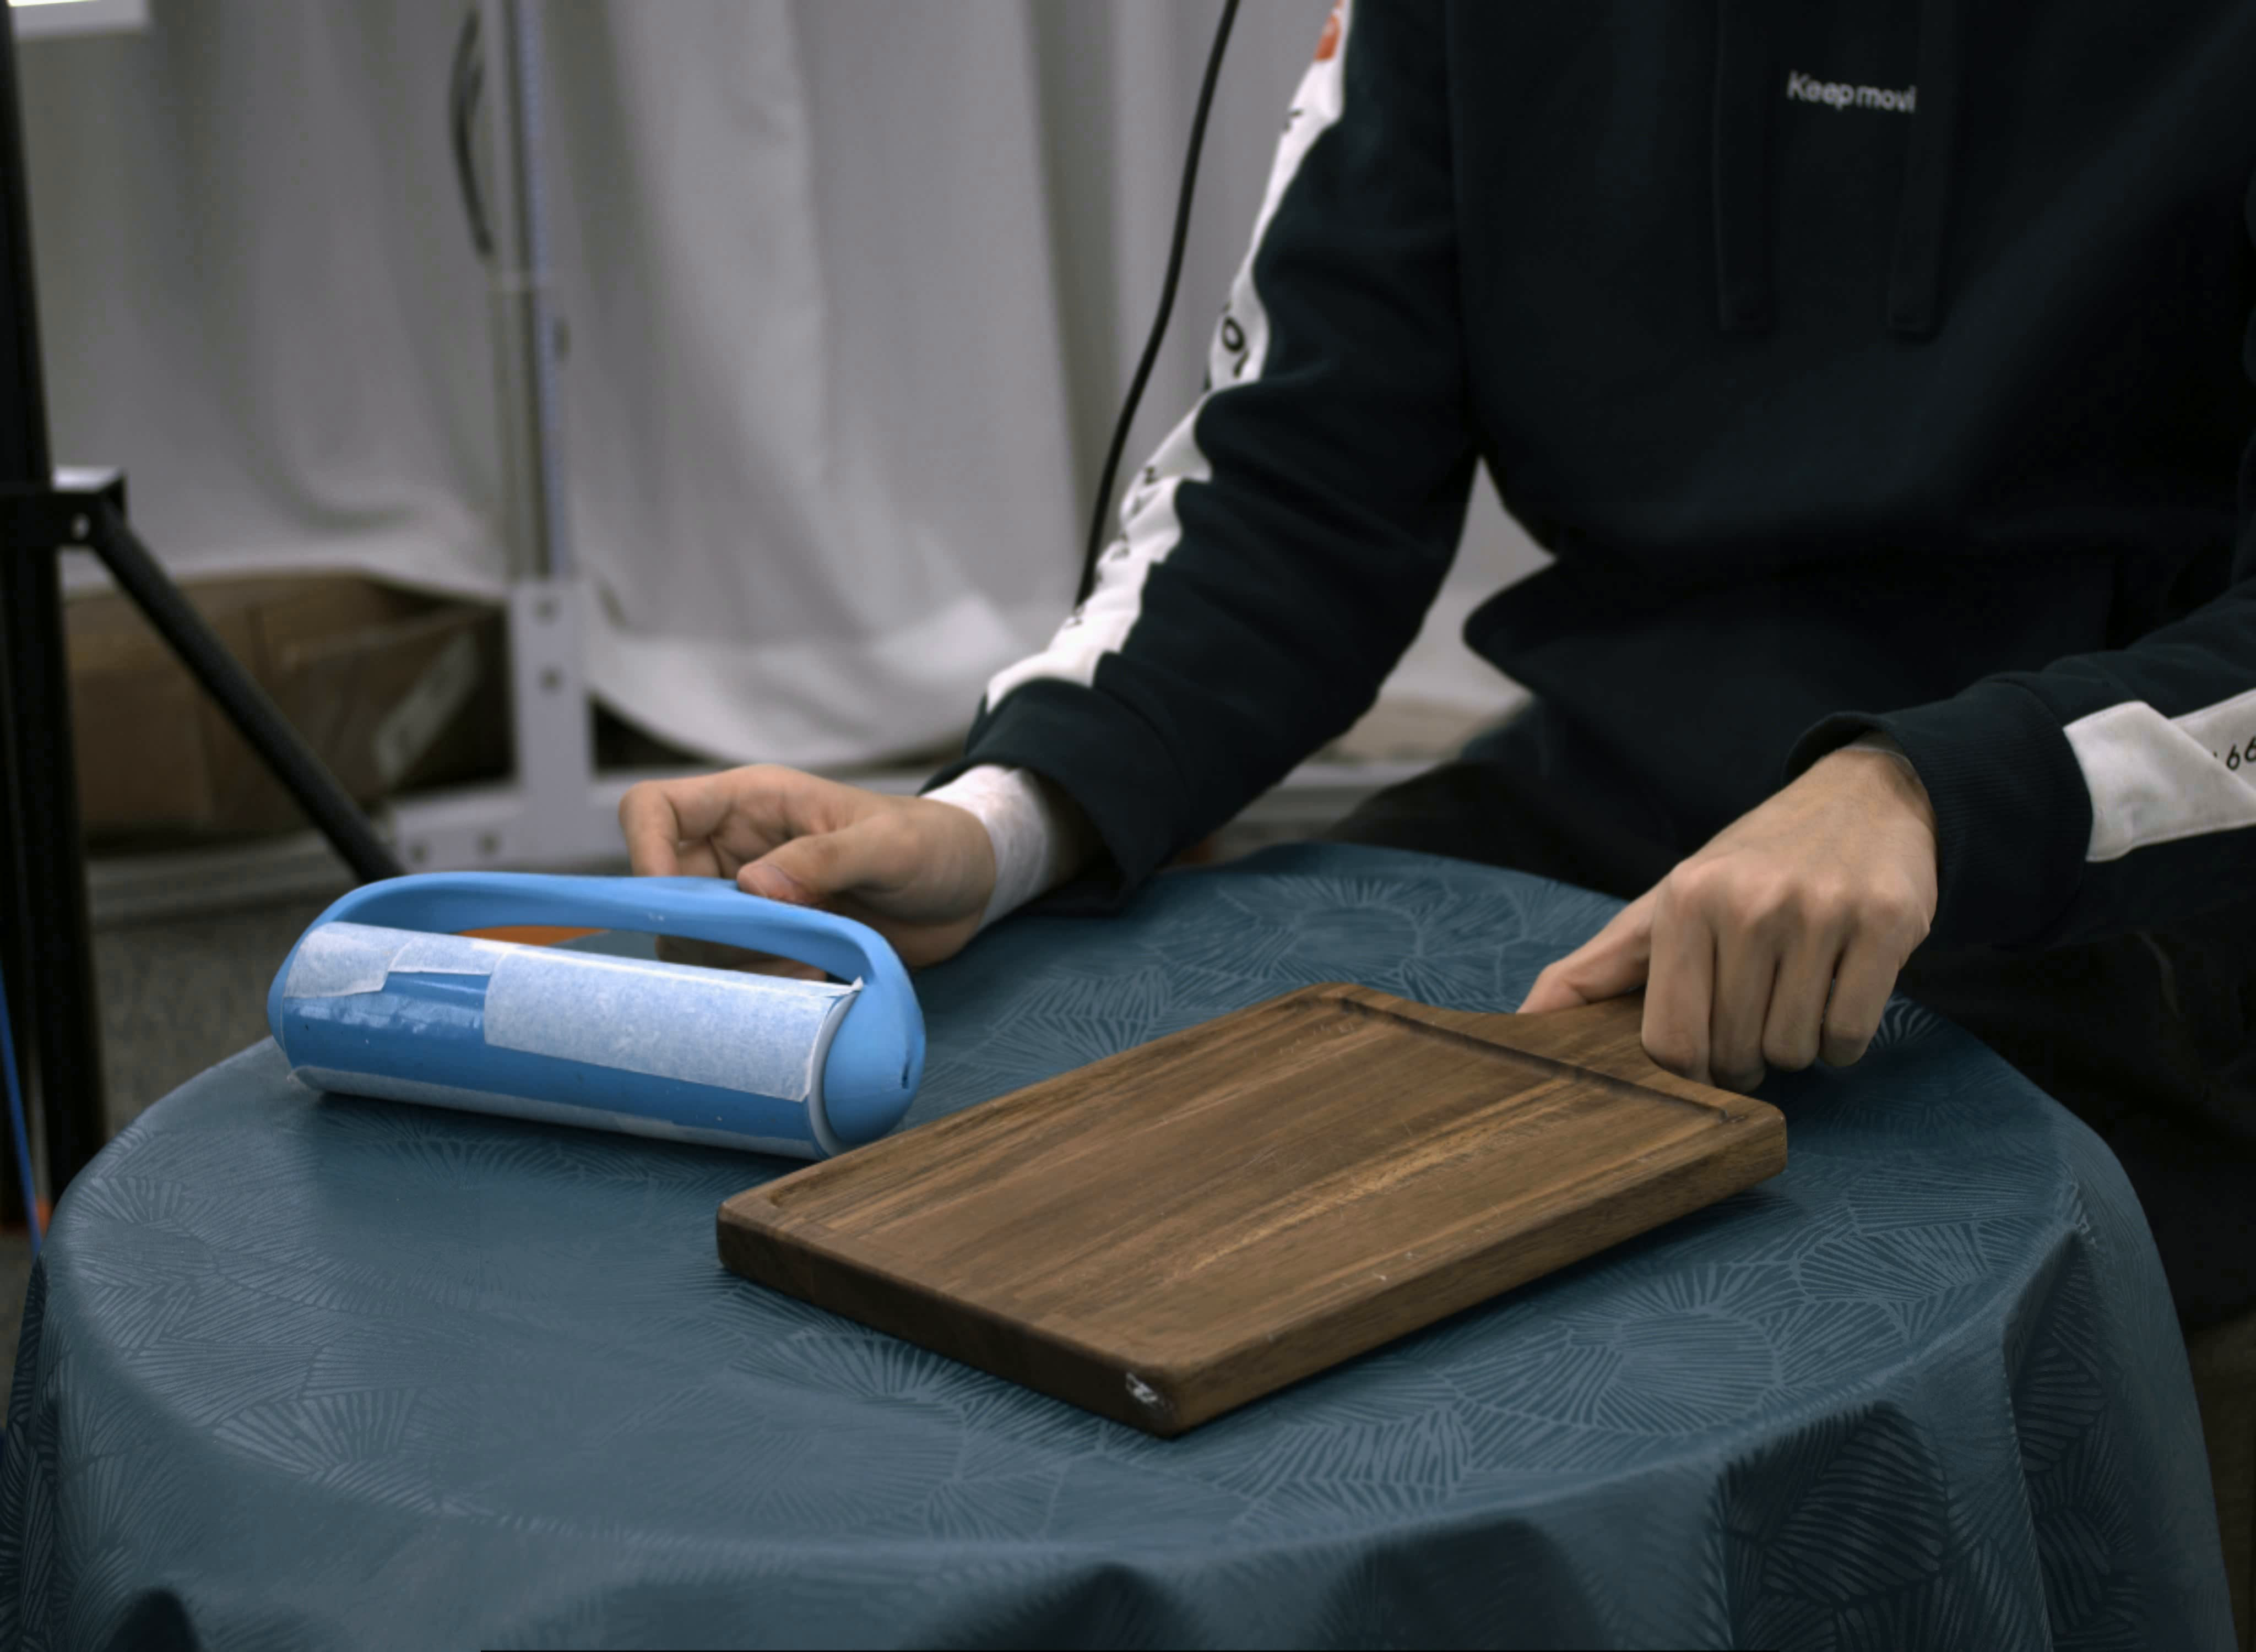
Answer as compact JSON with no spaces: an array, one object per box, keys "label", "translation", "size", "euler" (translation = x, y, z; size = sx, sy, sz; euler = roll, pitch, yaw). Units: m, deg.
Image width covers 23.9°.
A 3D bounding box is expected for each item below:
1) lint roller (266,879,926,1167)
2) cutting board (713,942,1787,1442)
[{"label":"lint roller","translation":[-0.142,0.049,1.686],"size":[0.232,0.068,0.177],"euler":[4,18,26]},{"label":"cutting board","translation":[0.072,0.091,1.543],"size":[0.344,0.023,0.206],"euler":[-19,23,-38]}]
